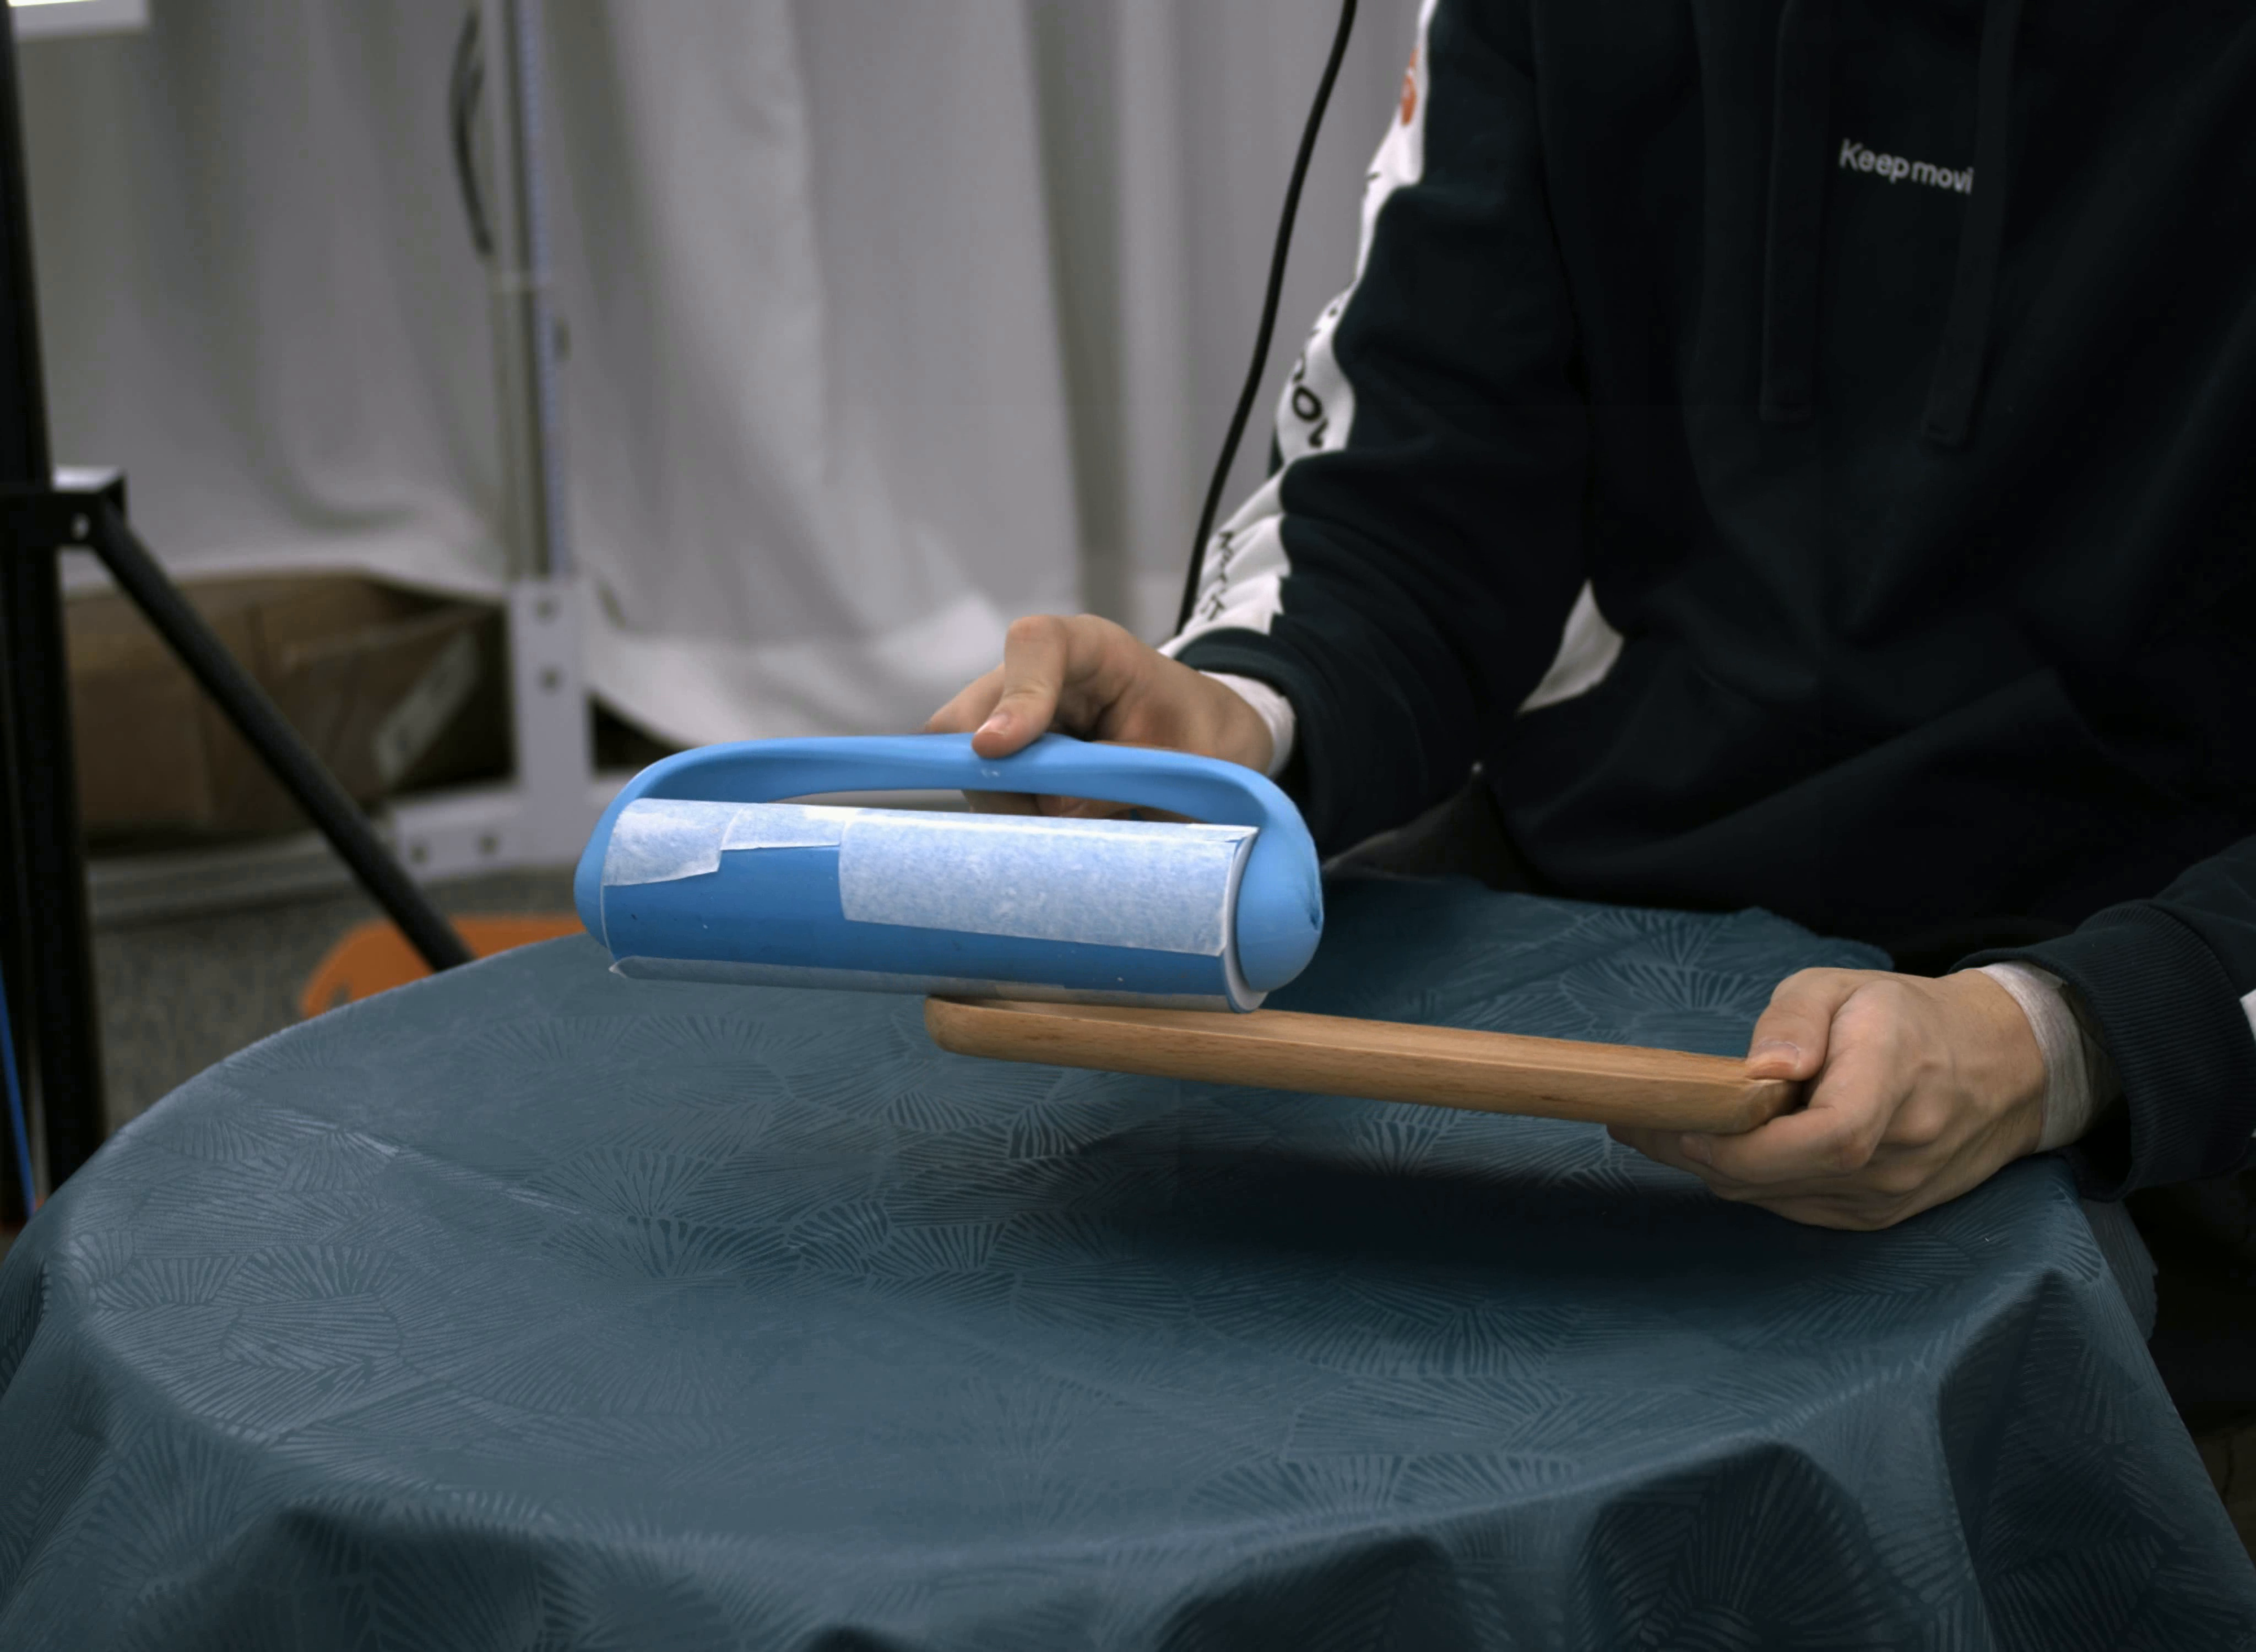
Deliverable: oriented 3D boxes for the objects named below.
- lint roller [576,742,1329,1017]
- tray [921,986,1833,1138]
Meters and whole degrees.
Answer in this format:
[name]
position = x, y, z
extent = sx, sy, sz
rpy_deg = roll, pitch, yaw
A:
[lint roller]
position = -0.036, 0.005, 1.585
extent = 0.231, 0.068, 0.178
rpy_deg = 0, 17, 19
[tray]
position = 0.070, 0.066, 1.516
extent = 0.254, 0.023, 0.128
rpy_deg = 5, -1, 23
